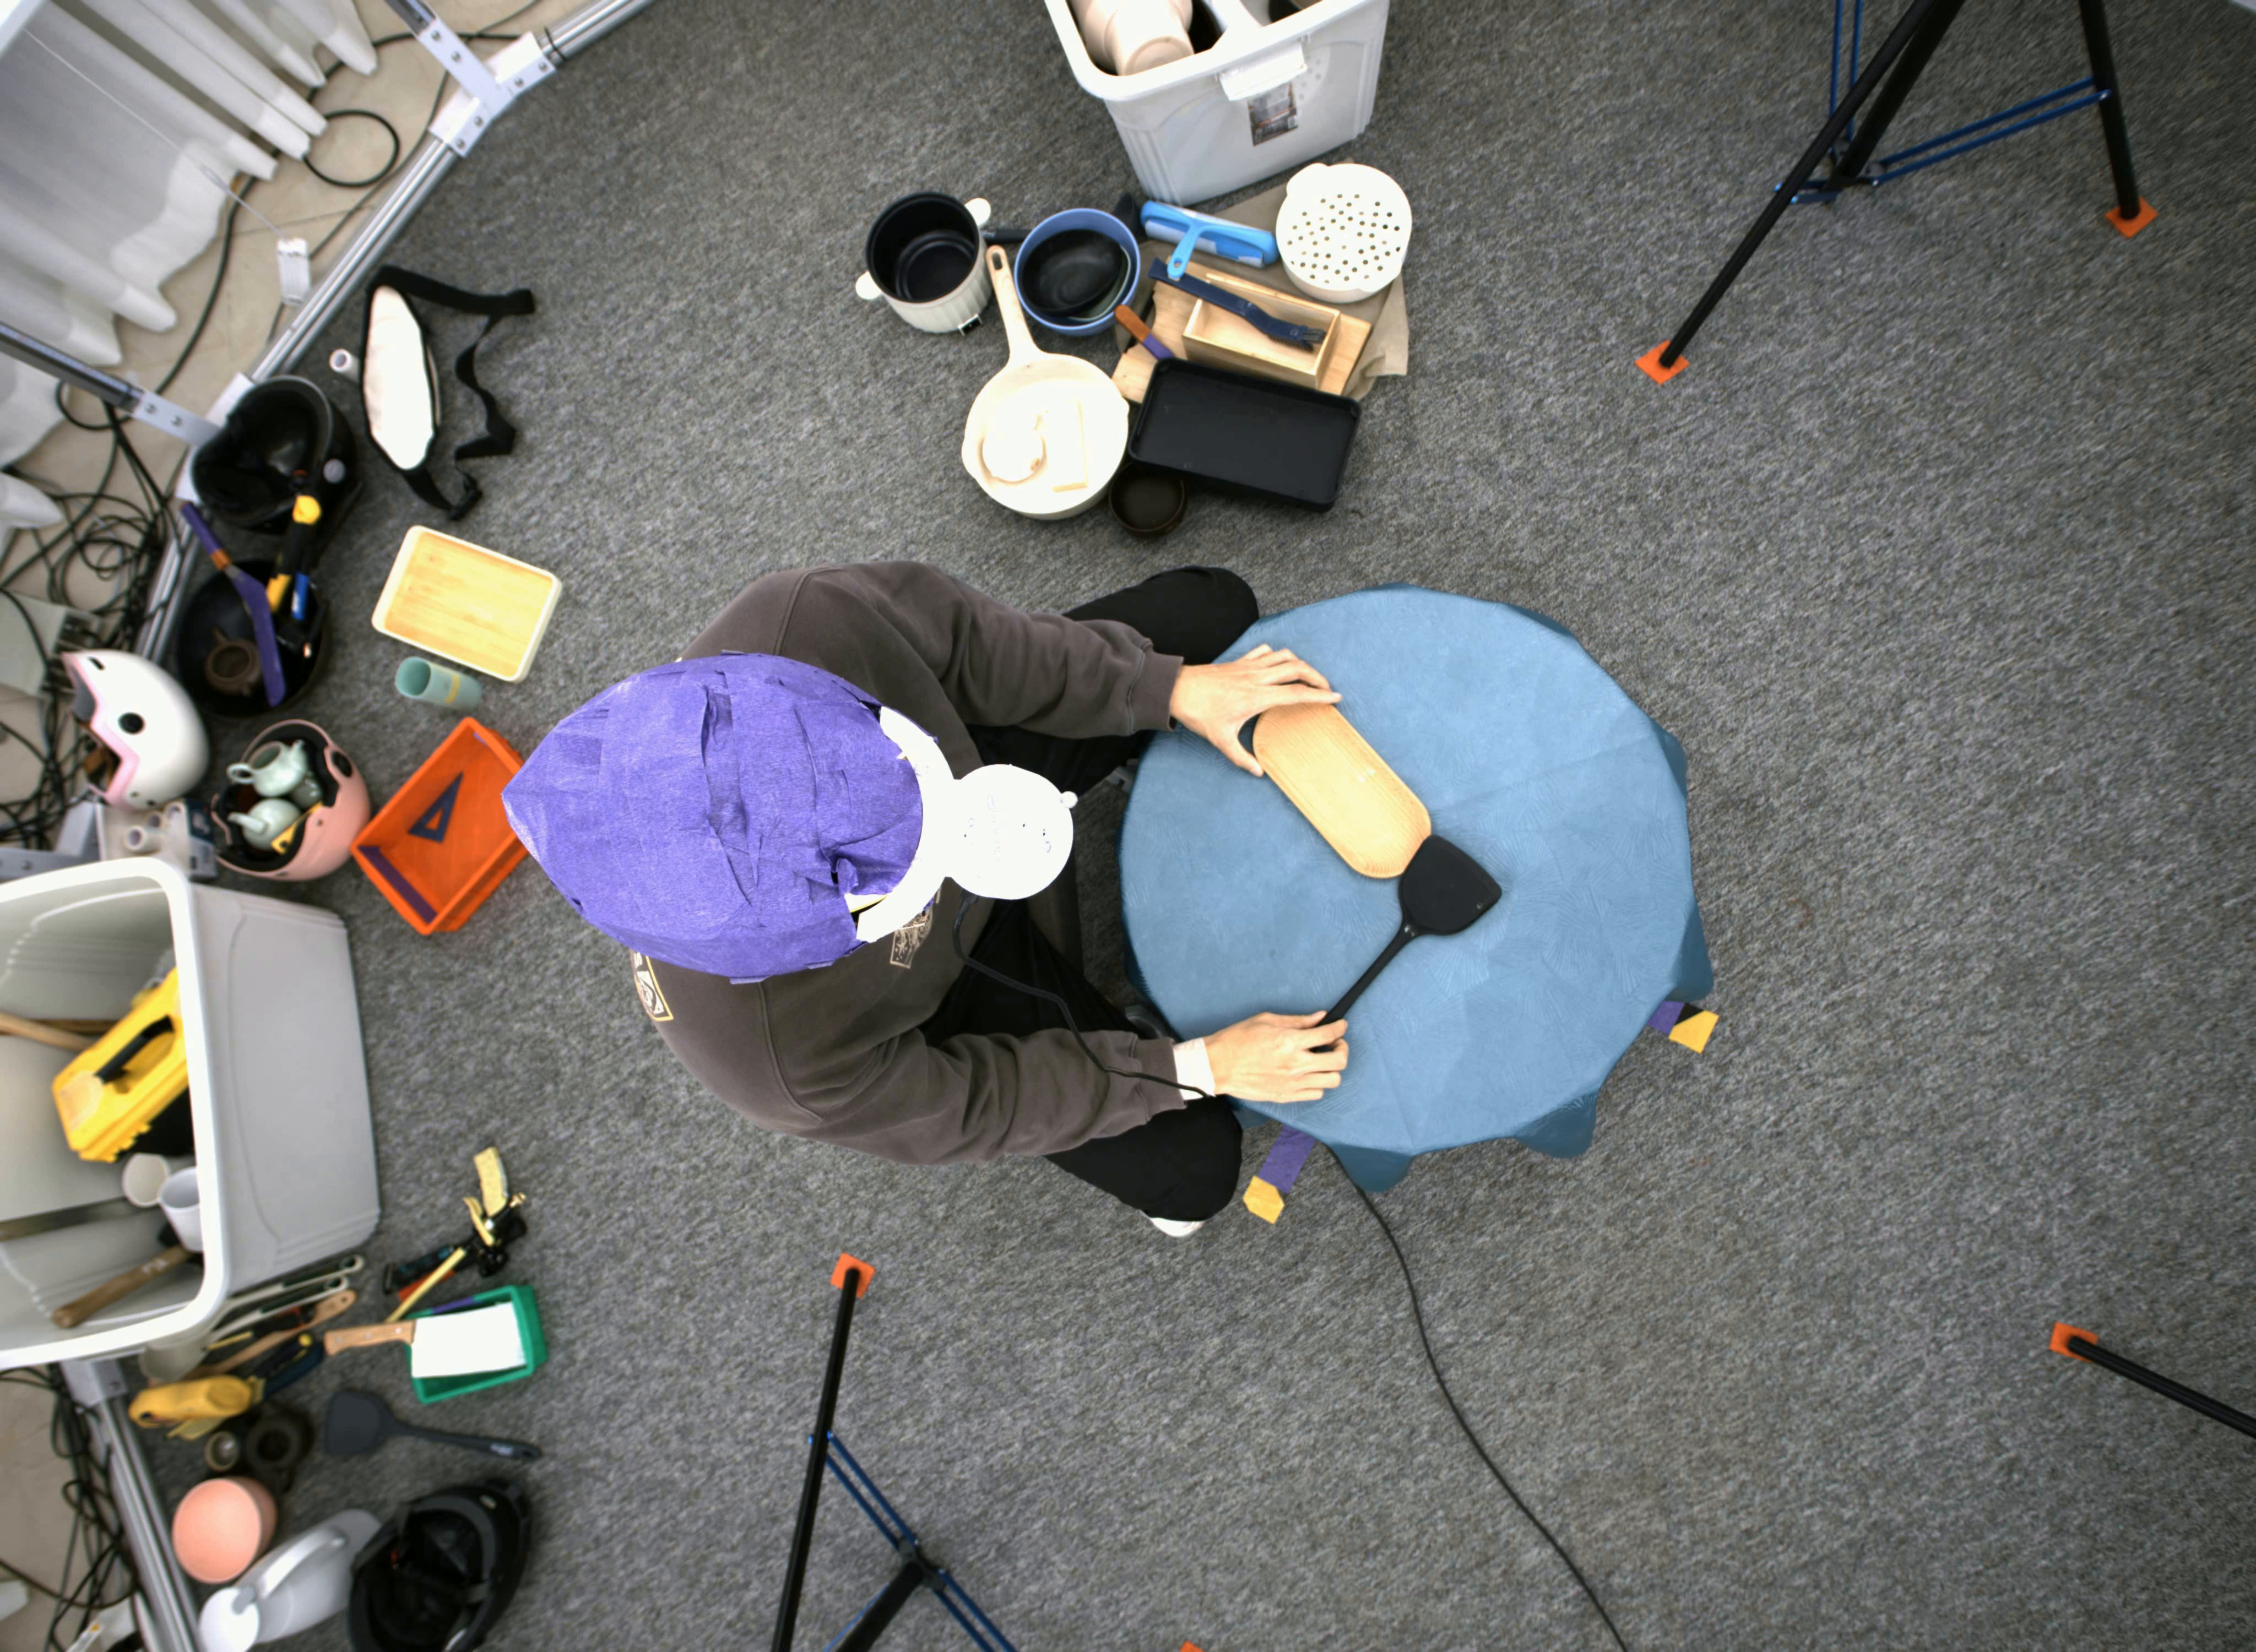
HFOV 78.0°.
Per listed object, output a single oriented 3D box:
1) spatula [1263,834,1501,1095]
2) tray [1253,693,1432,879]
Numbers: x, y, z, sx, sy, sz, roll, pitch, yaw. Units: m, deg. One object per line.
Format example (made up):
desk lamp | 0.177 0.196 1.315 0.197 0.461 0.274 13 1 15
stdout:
spatula | 0.249 0.156 1.438 0.099 0.040 0.327 42 94 13
tray | 0.226 -0.044 1.463 0.102 0.020 0.230 -42 82 7
